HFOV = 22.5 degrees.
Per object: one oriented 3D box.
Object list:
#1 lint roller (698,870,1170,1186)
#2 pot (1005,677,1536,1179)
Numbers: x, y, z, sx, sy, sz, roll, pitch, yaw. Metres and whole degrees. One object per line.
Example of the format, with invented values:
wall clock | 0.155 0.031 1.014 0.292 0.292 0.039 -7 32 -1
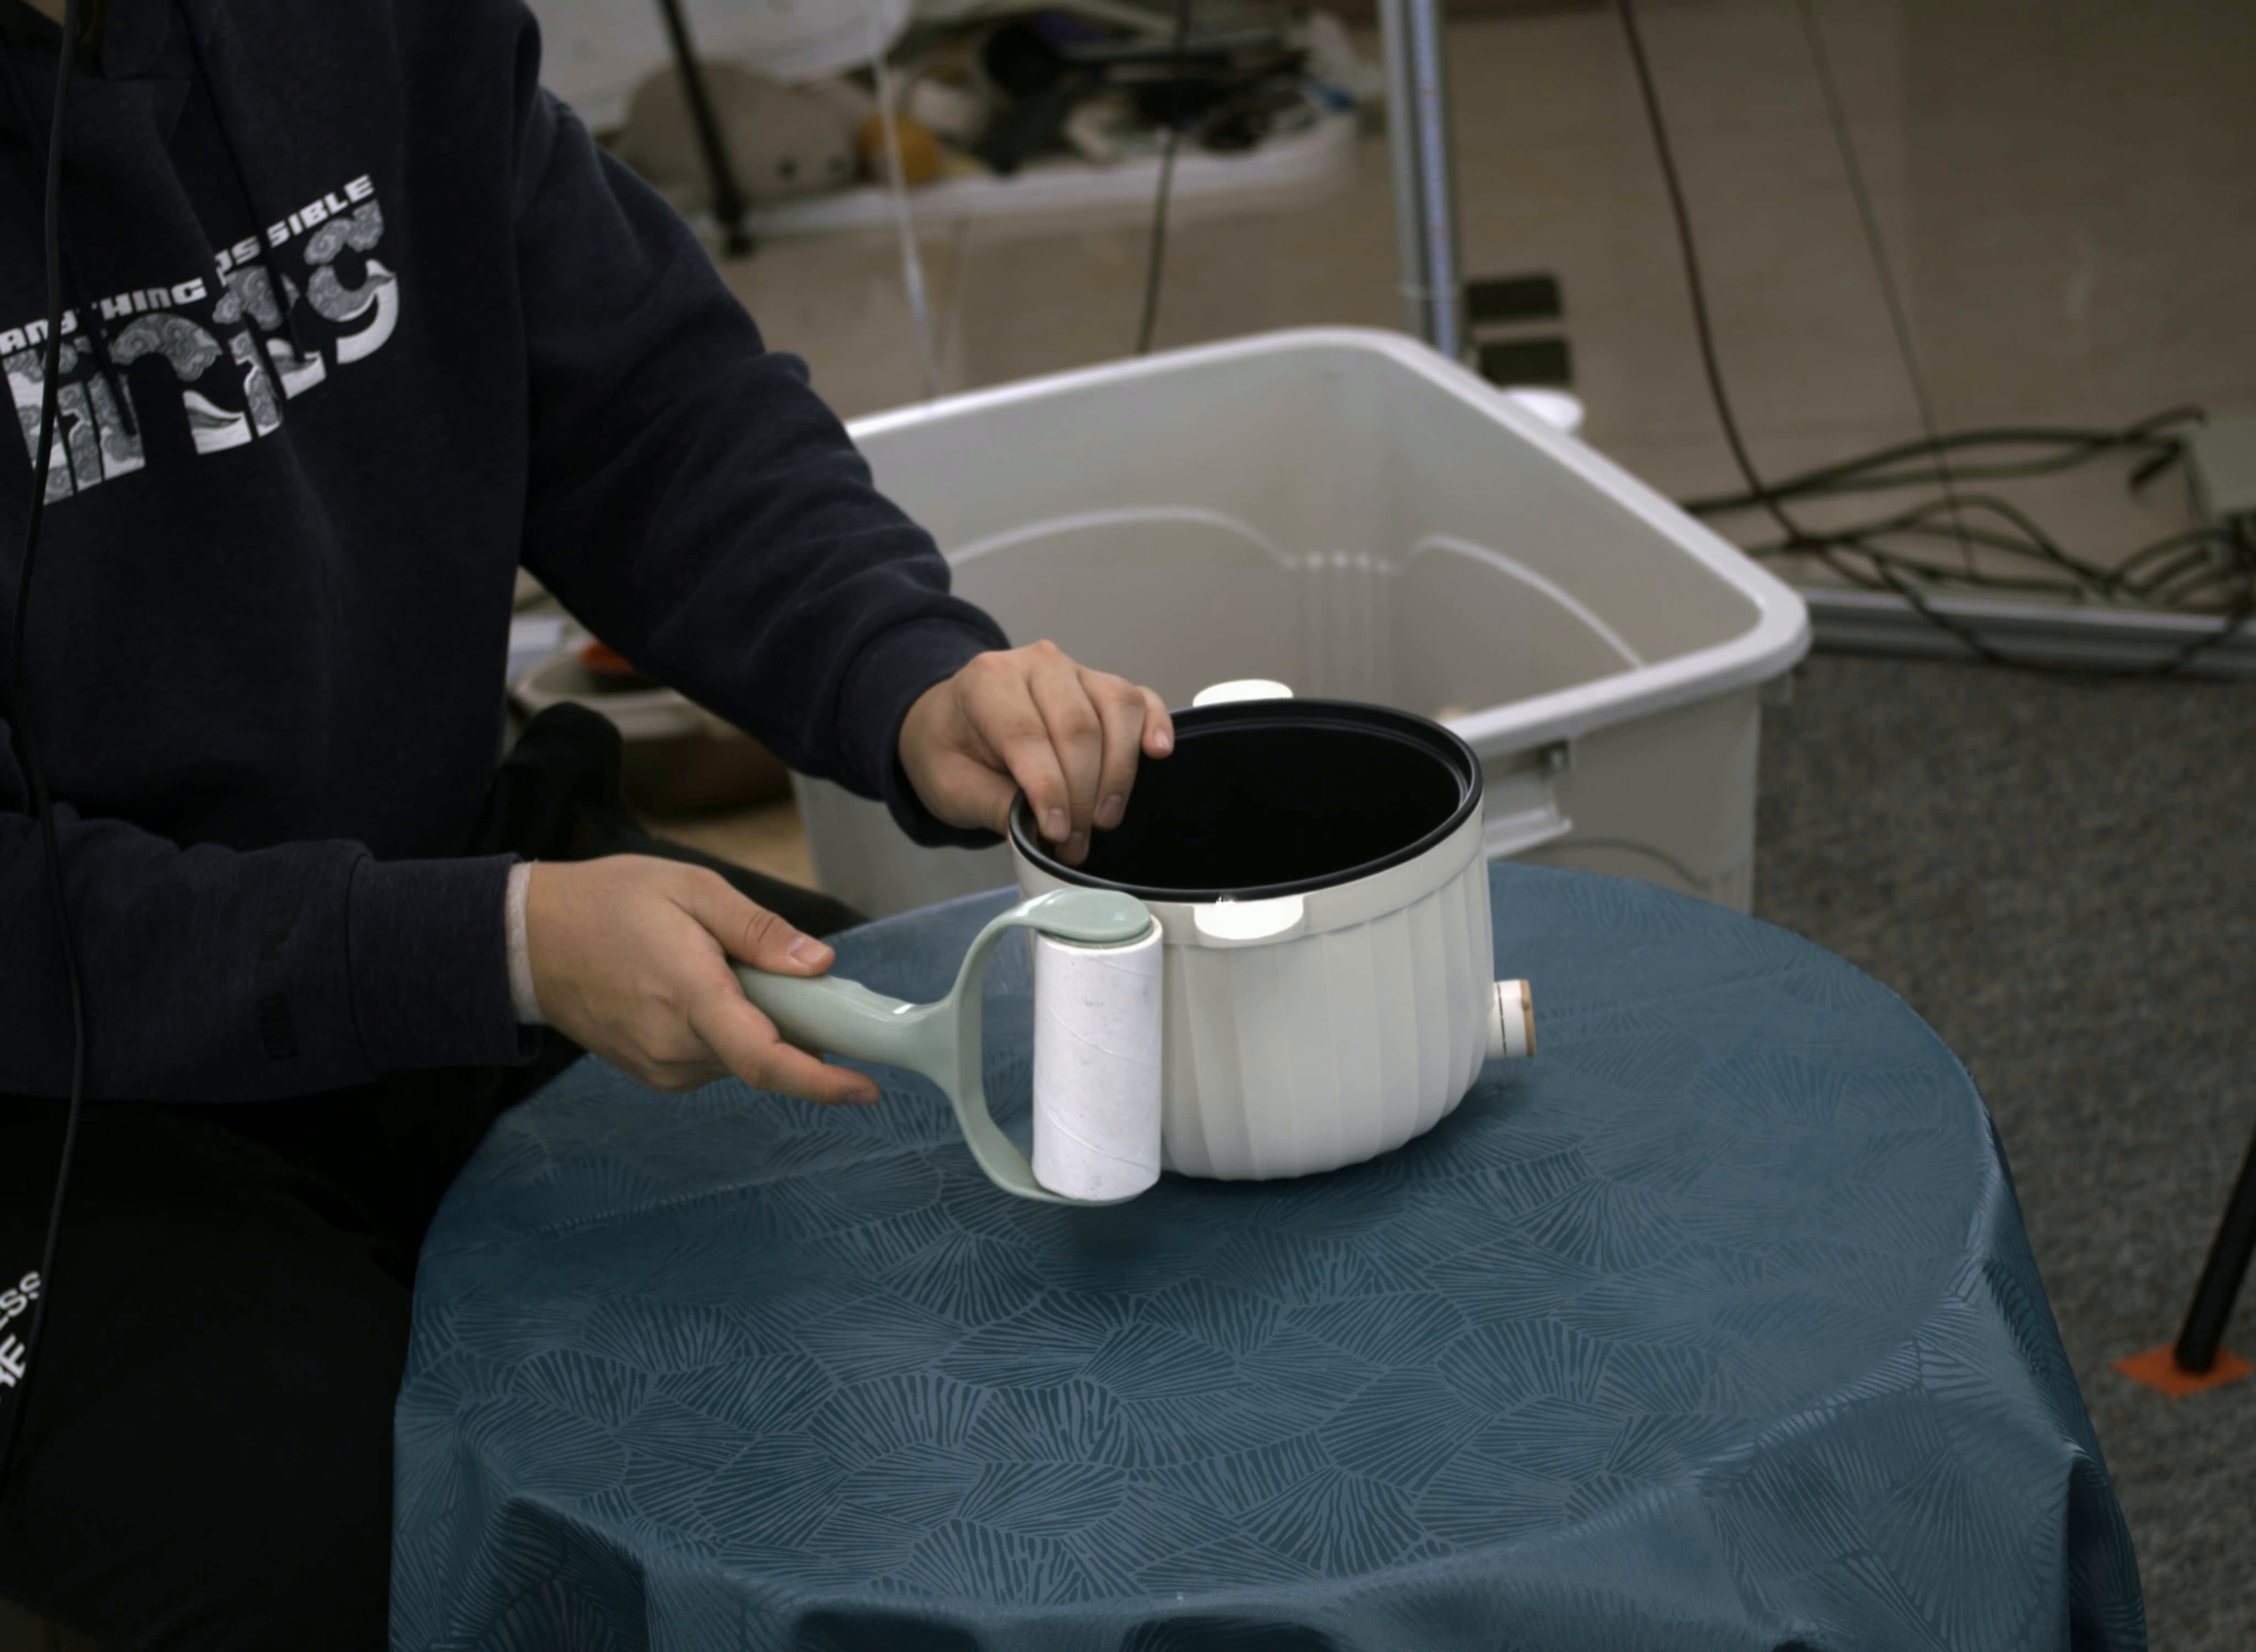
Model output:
lint roller | -0.077 0.063 2.099 0.197 0.118 0.048 10 30 21
pot | 0.056 0.045 2.170 0.190 0.145 0.237 -8 26 3
